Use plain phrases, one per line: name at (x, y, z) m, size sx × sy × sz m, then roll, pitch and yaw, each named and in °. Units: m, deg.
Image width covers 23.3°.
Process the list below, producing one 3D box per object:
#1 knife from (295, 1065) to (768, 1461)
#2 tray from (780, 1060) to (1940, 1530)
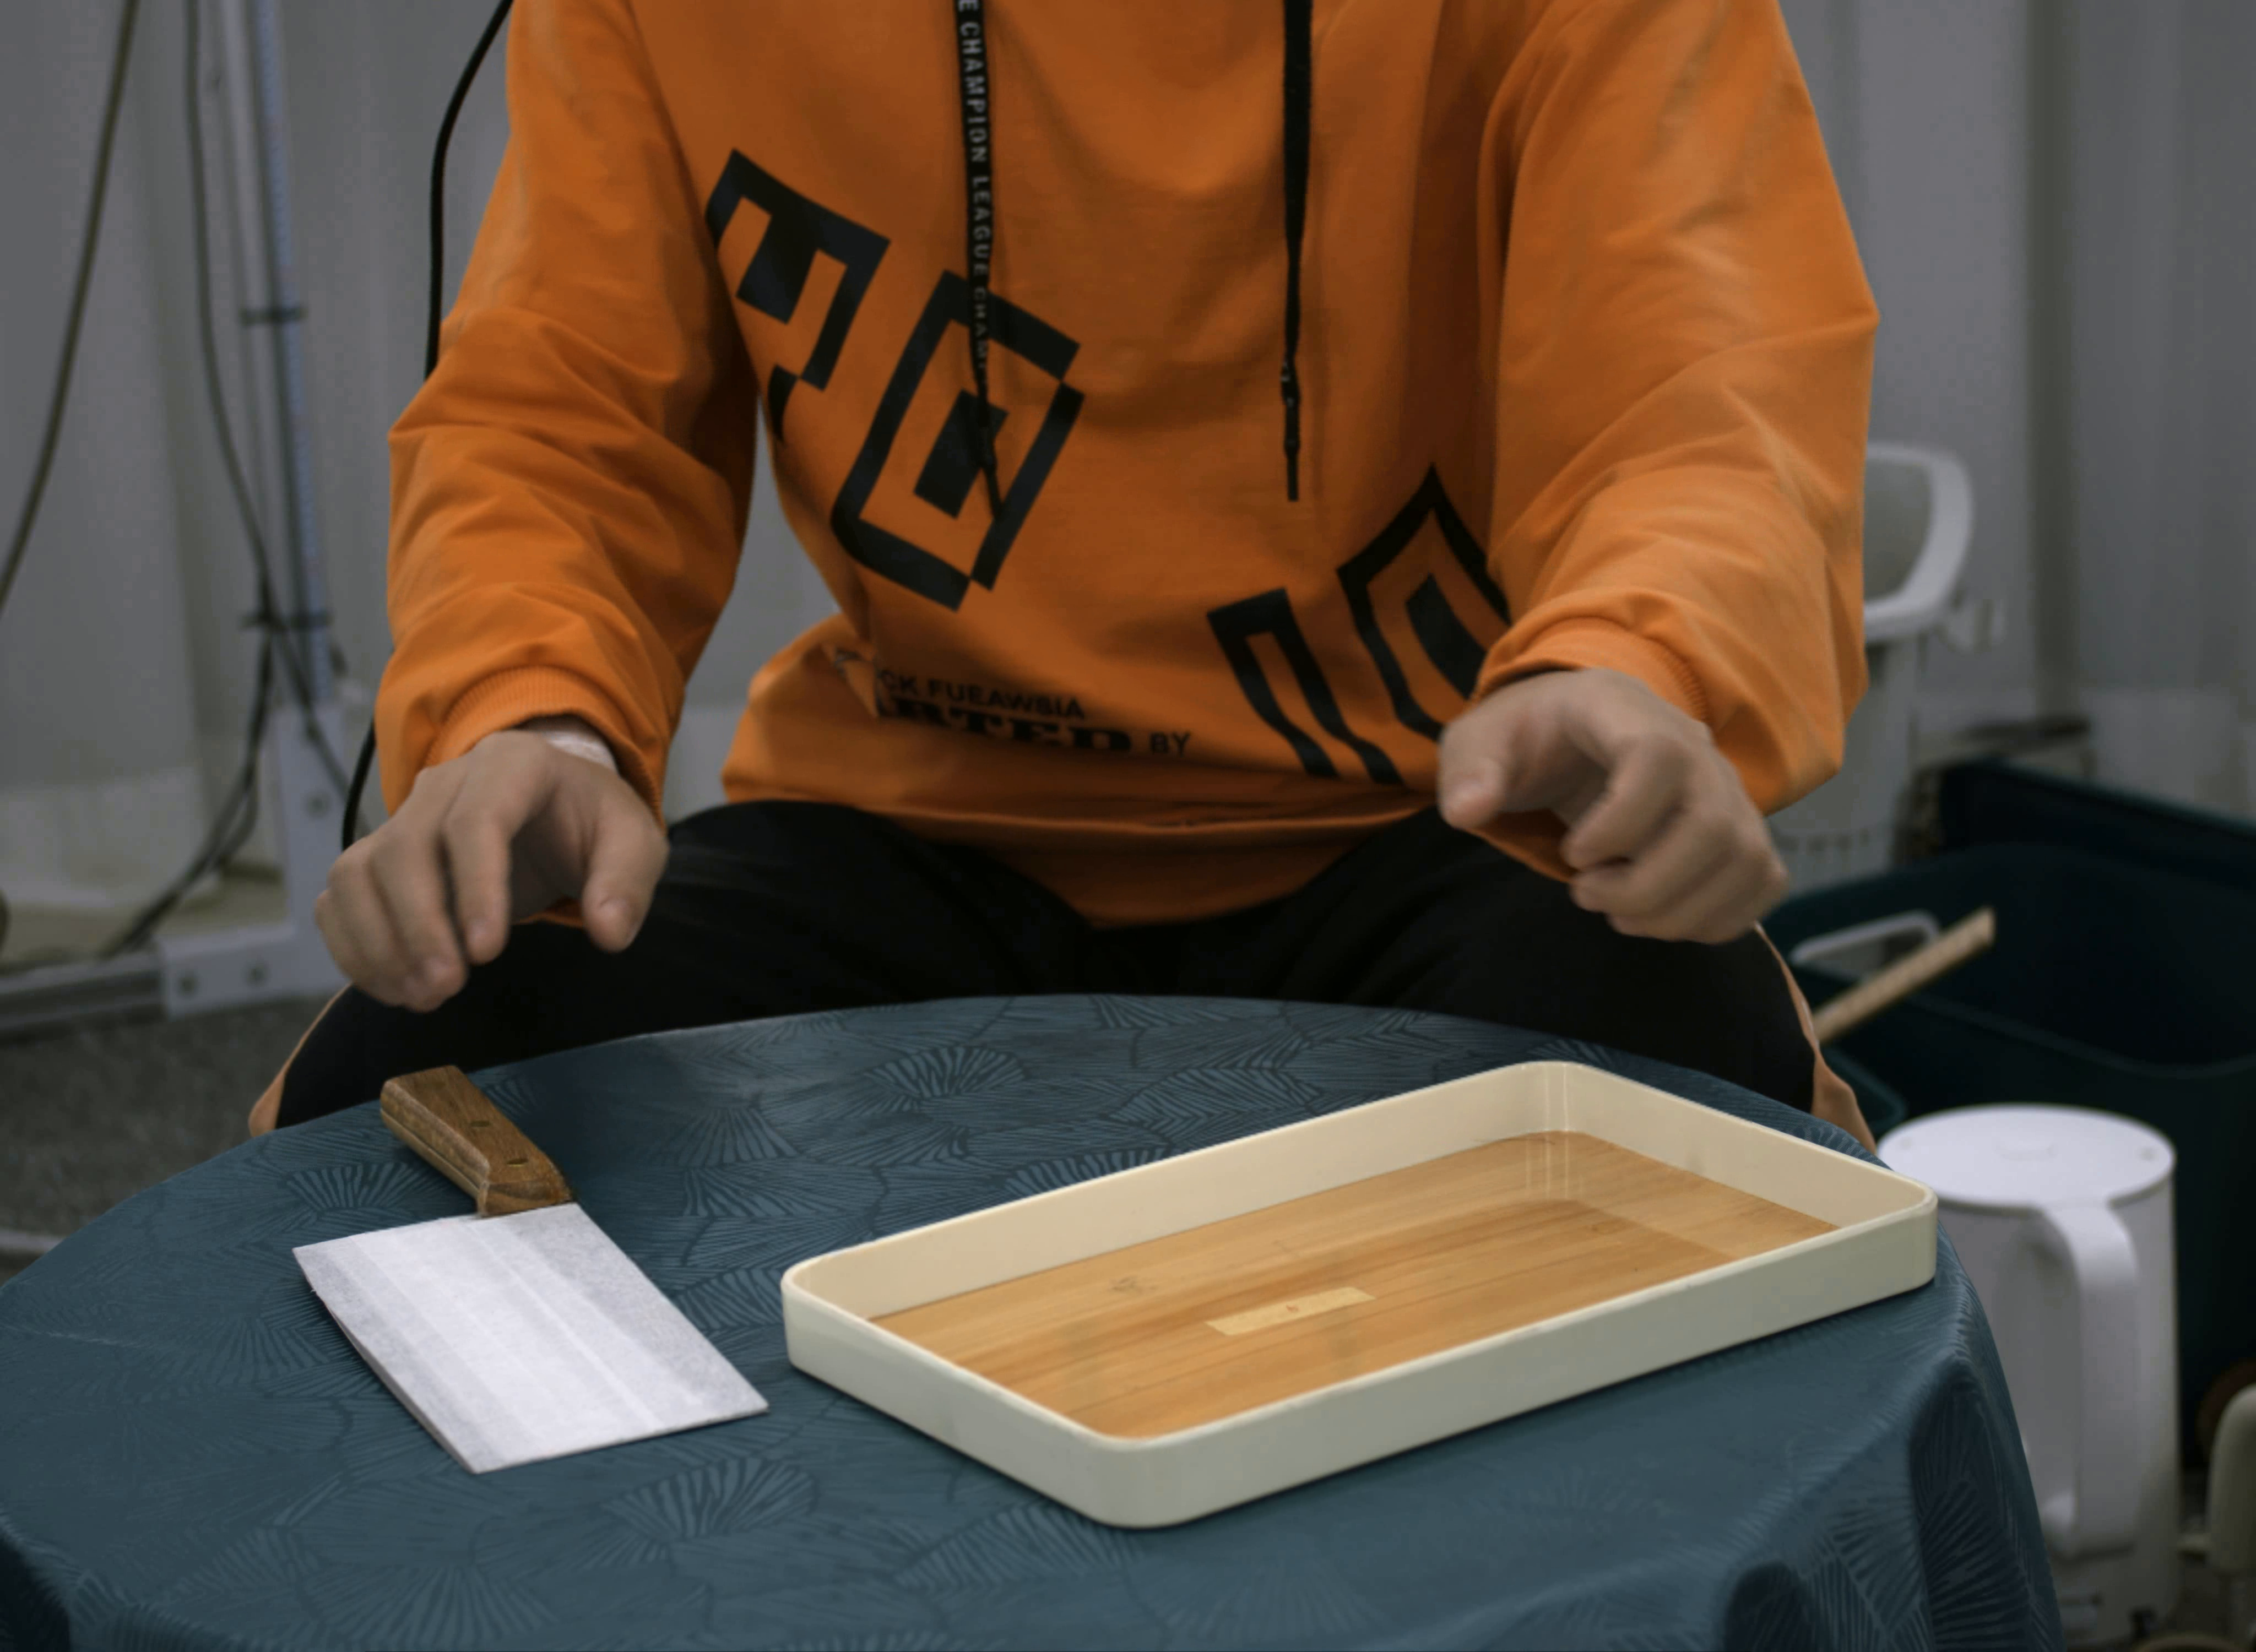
knife at (-0.200, 0.132, 1.660) m, size 0.092 × 0.021 × 0.308 m, roll -11°, pitch 19°, yaw -21°
tray at (0.069, 0.131, 1.588) m, size 0.299 × 0.027 × 0.193 m, roll -13°, pitch 18°, yaw -32°
